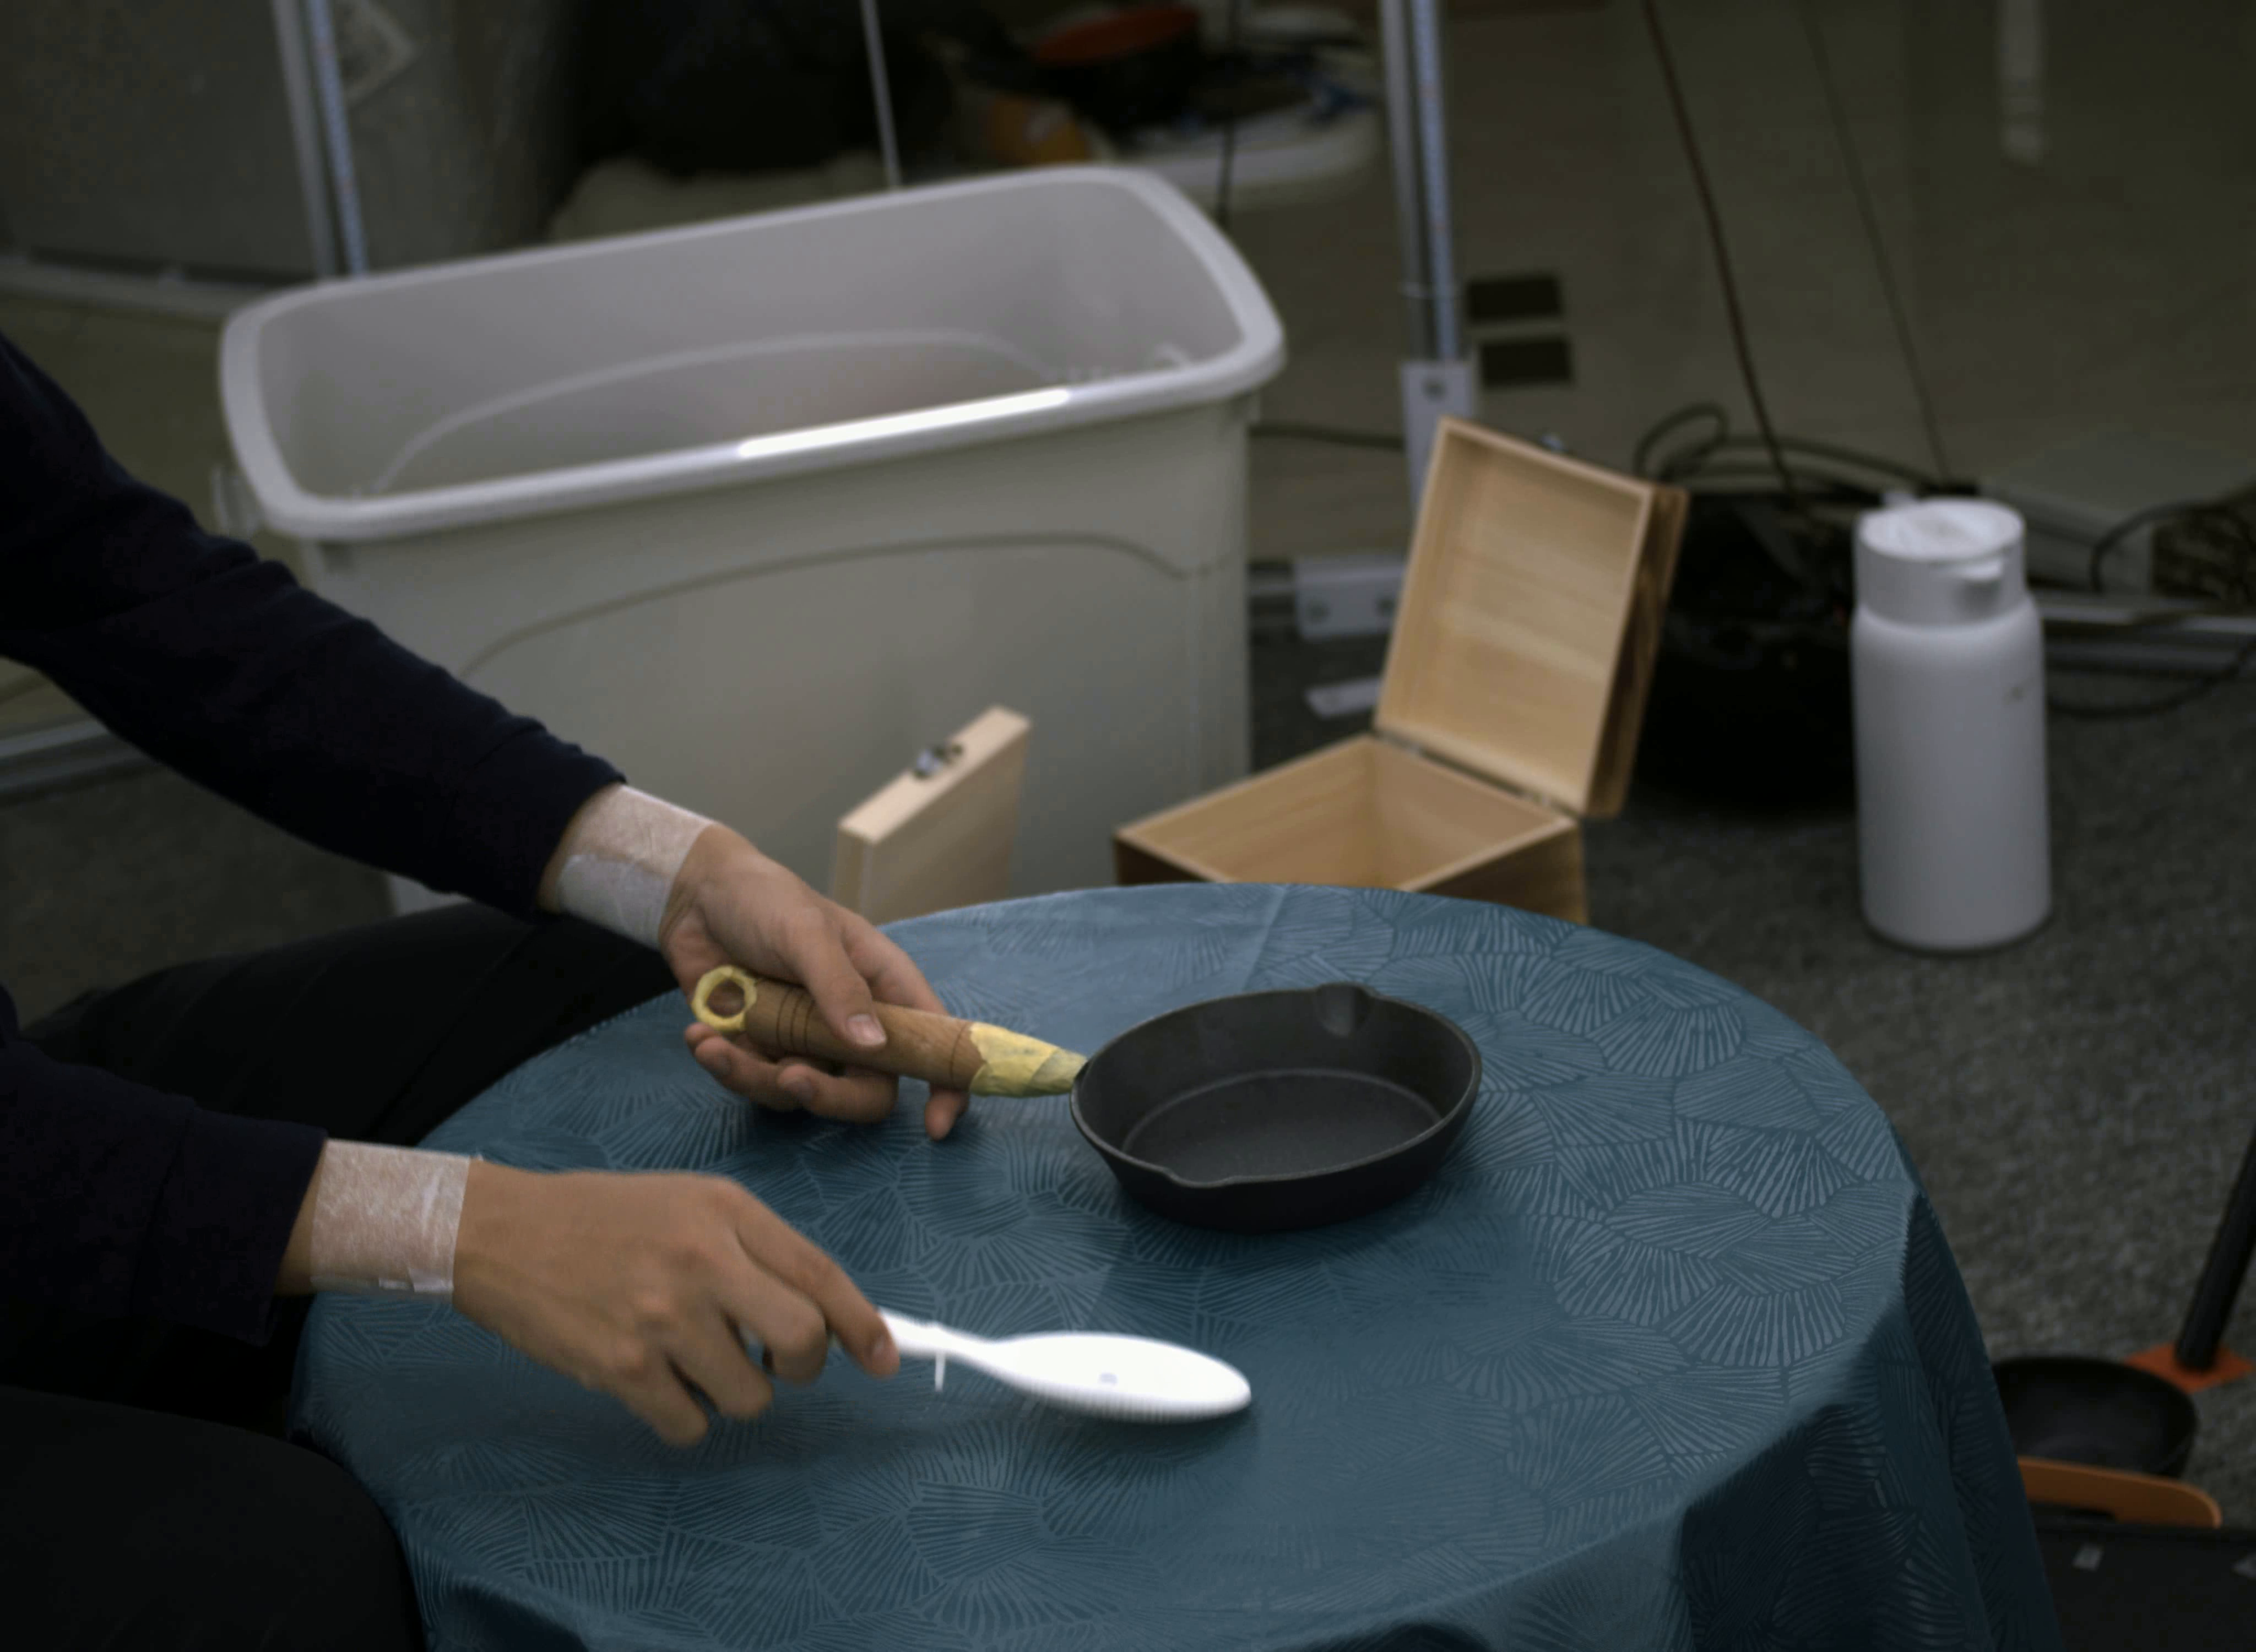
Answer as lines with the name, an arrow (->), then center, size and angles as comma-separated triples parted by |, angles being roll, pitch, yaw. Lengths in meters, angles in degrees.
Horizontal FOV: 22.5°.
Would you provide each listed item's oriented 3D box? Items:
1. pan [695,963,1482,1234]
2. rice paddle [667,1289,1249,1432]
pan -> -0.020, 0.095, 2.185 | 0.323, 0.050, 0.167 | 7, 29, 24
rice paddle -> -0.059, 0.188, 1.993 | 0.205, 0.030, 0.068 | 6, 20, 4
